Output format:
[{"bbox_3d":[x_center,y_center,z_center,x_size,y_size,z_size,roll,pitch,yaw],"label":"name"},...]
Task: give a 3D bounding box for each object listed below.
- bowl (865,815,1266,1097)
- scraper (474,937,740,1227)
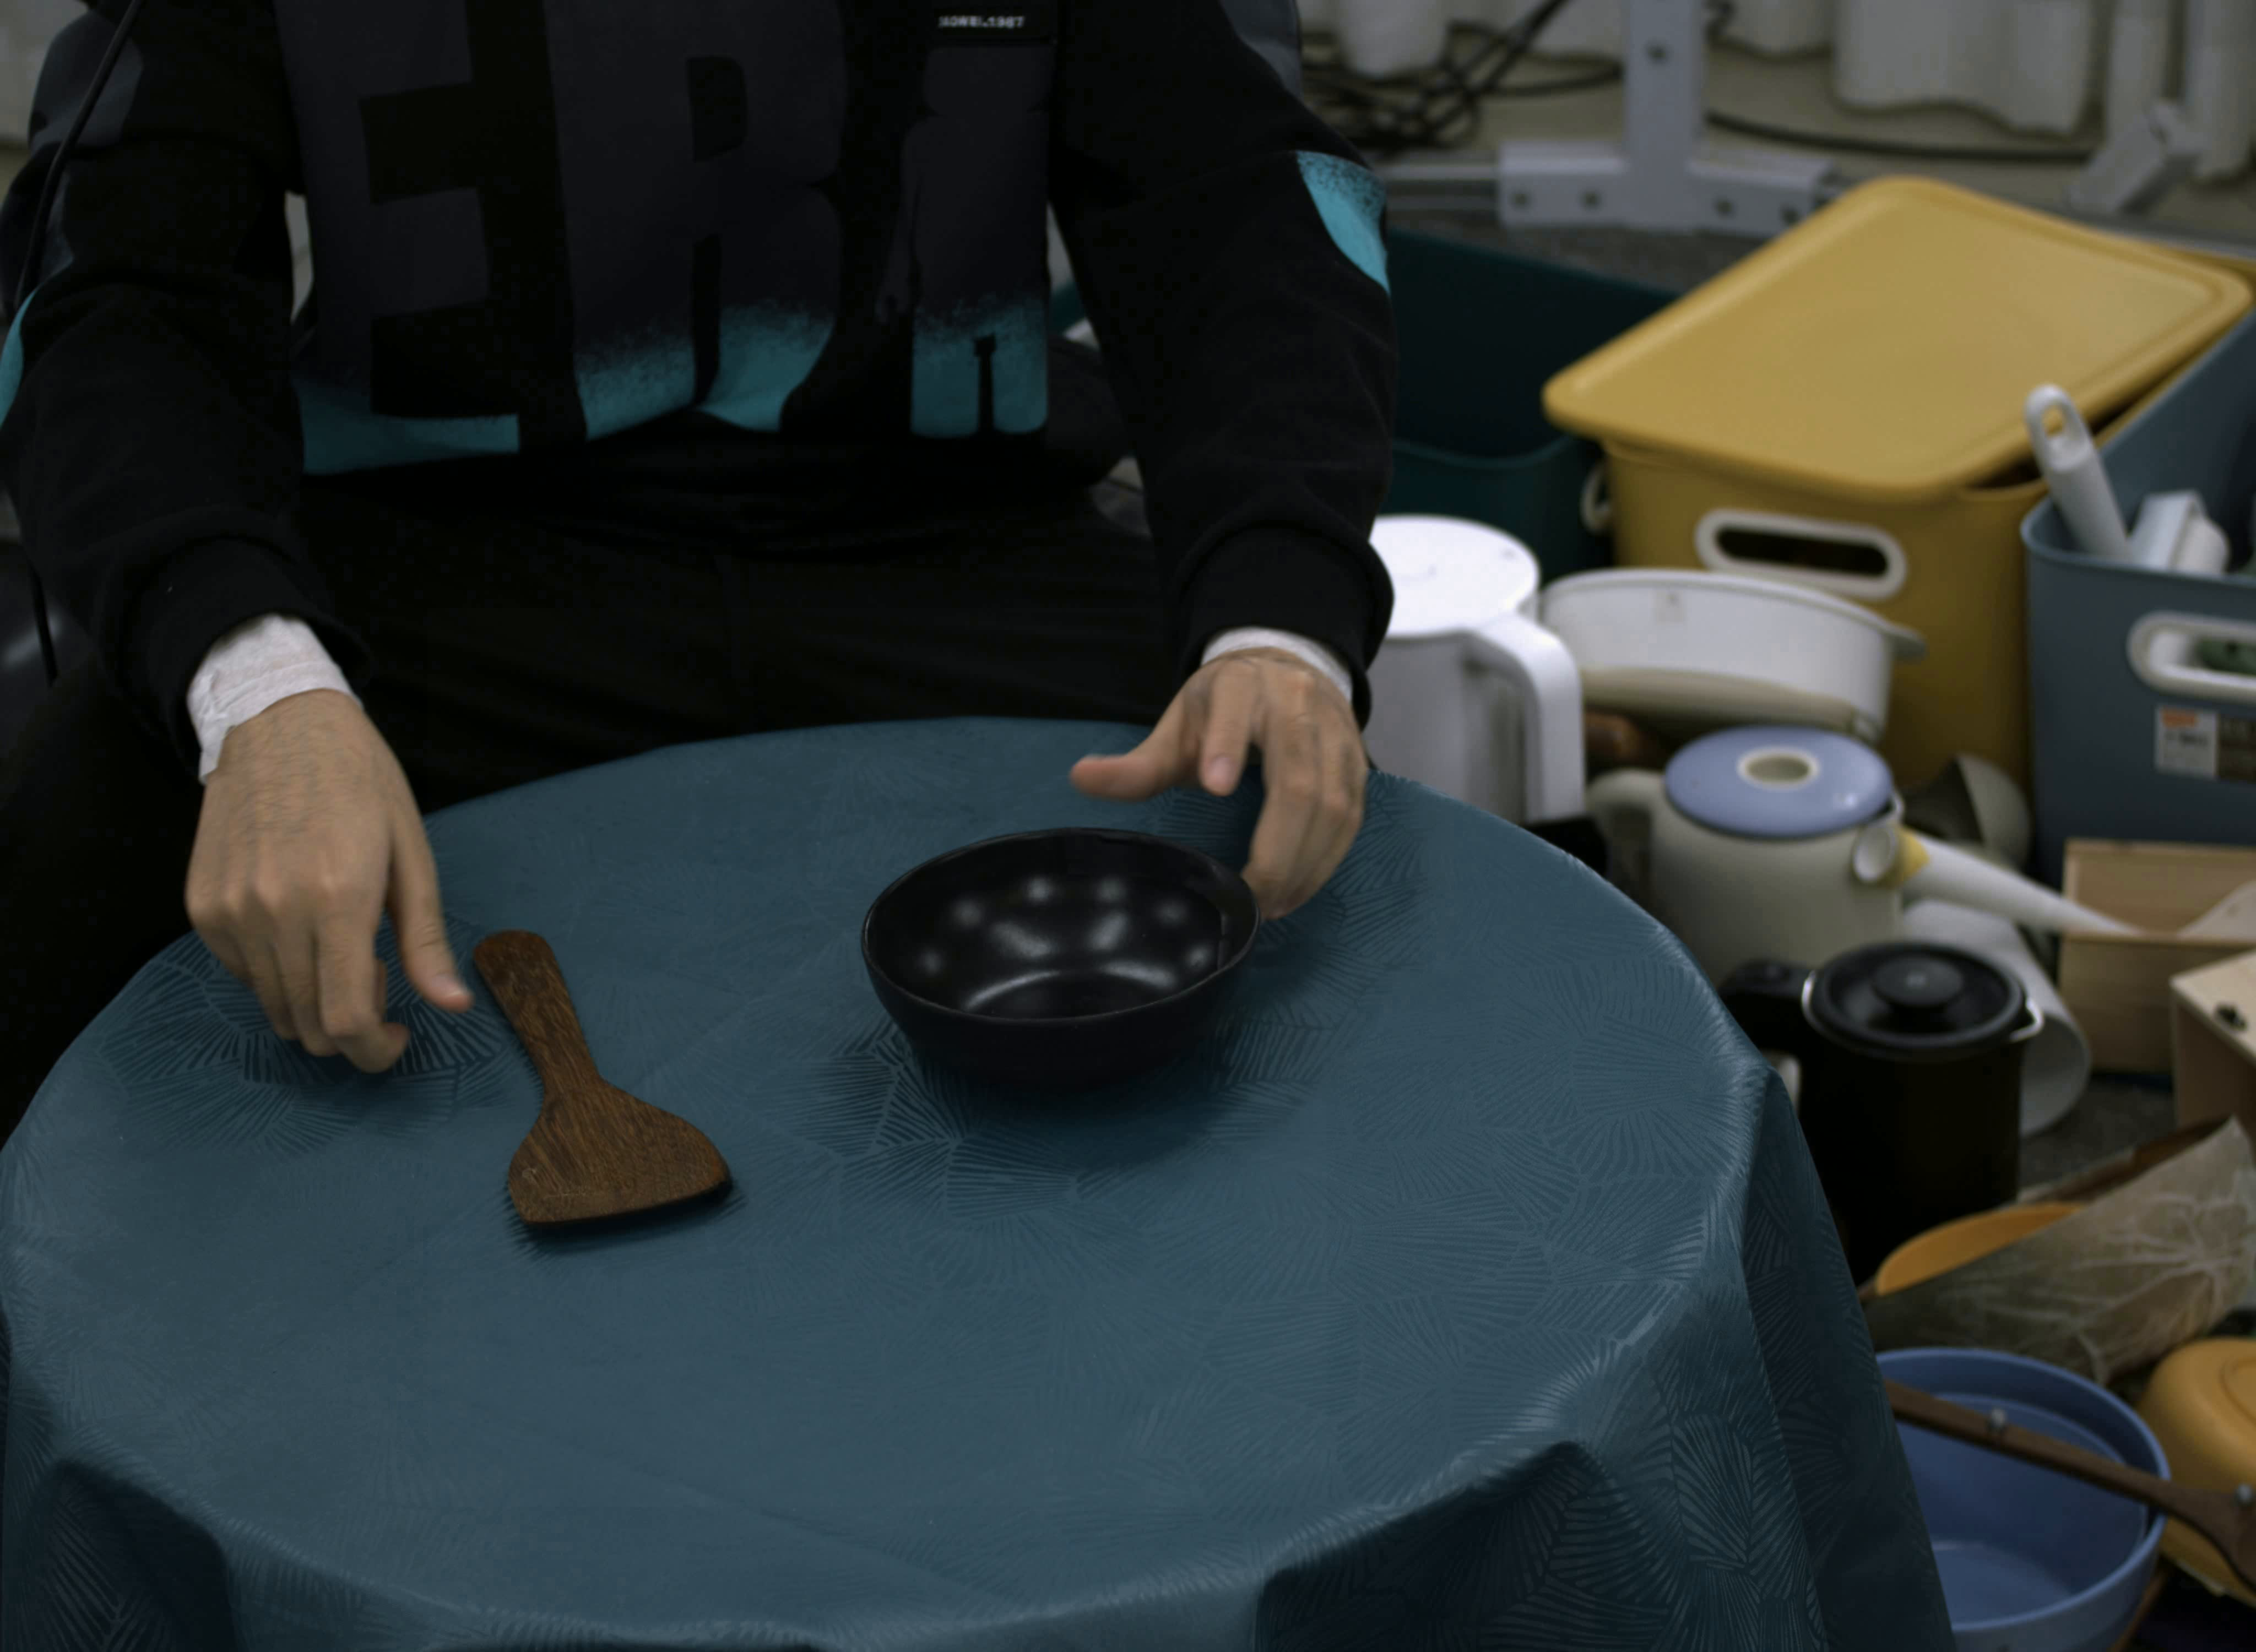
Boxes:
[{"bbox_3d":[-0.020,0.053,1.940,0.139,0.049,0.142,-3,31,2],"label":"bowl"},{"bbox_3d":[-0.192,0.087,1.939,0.076,0.011,0.213,-9,27,-15],"label":"scraper"}]
